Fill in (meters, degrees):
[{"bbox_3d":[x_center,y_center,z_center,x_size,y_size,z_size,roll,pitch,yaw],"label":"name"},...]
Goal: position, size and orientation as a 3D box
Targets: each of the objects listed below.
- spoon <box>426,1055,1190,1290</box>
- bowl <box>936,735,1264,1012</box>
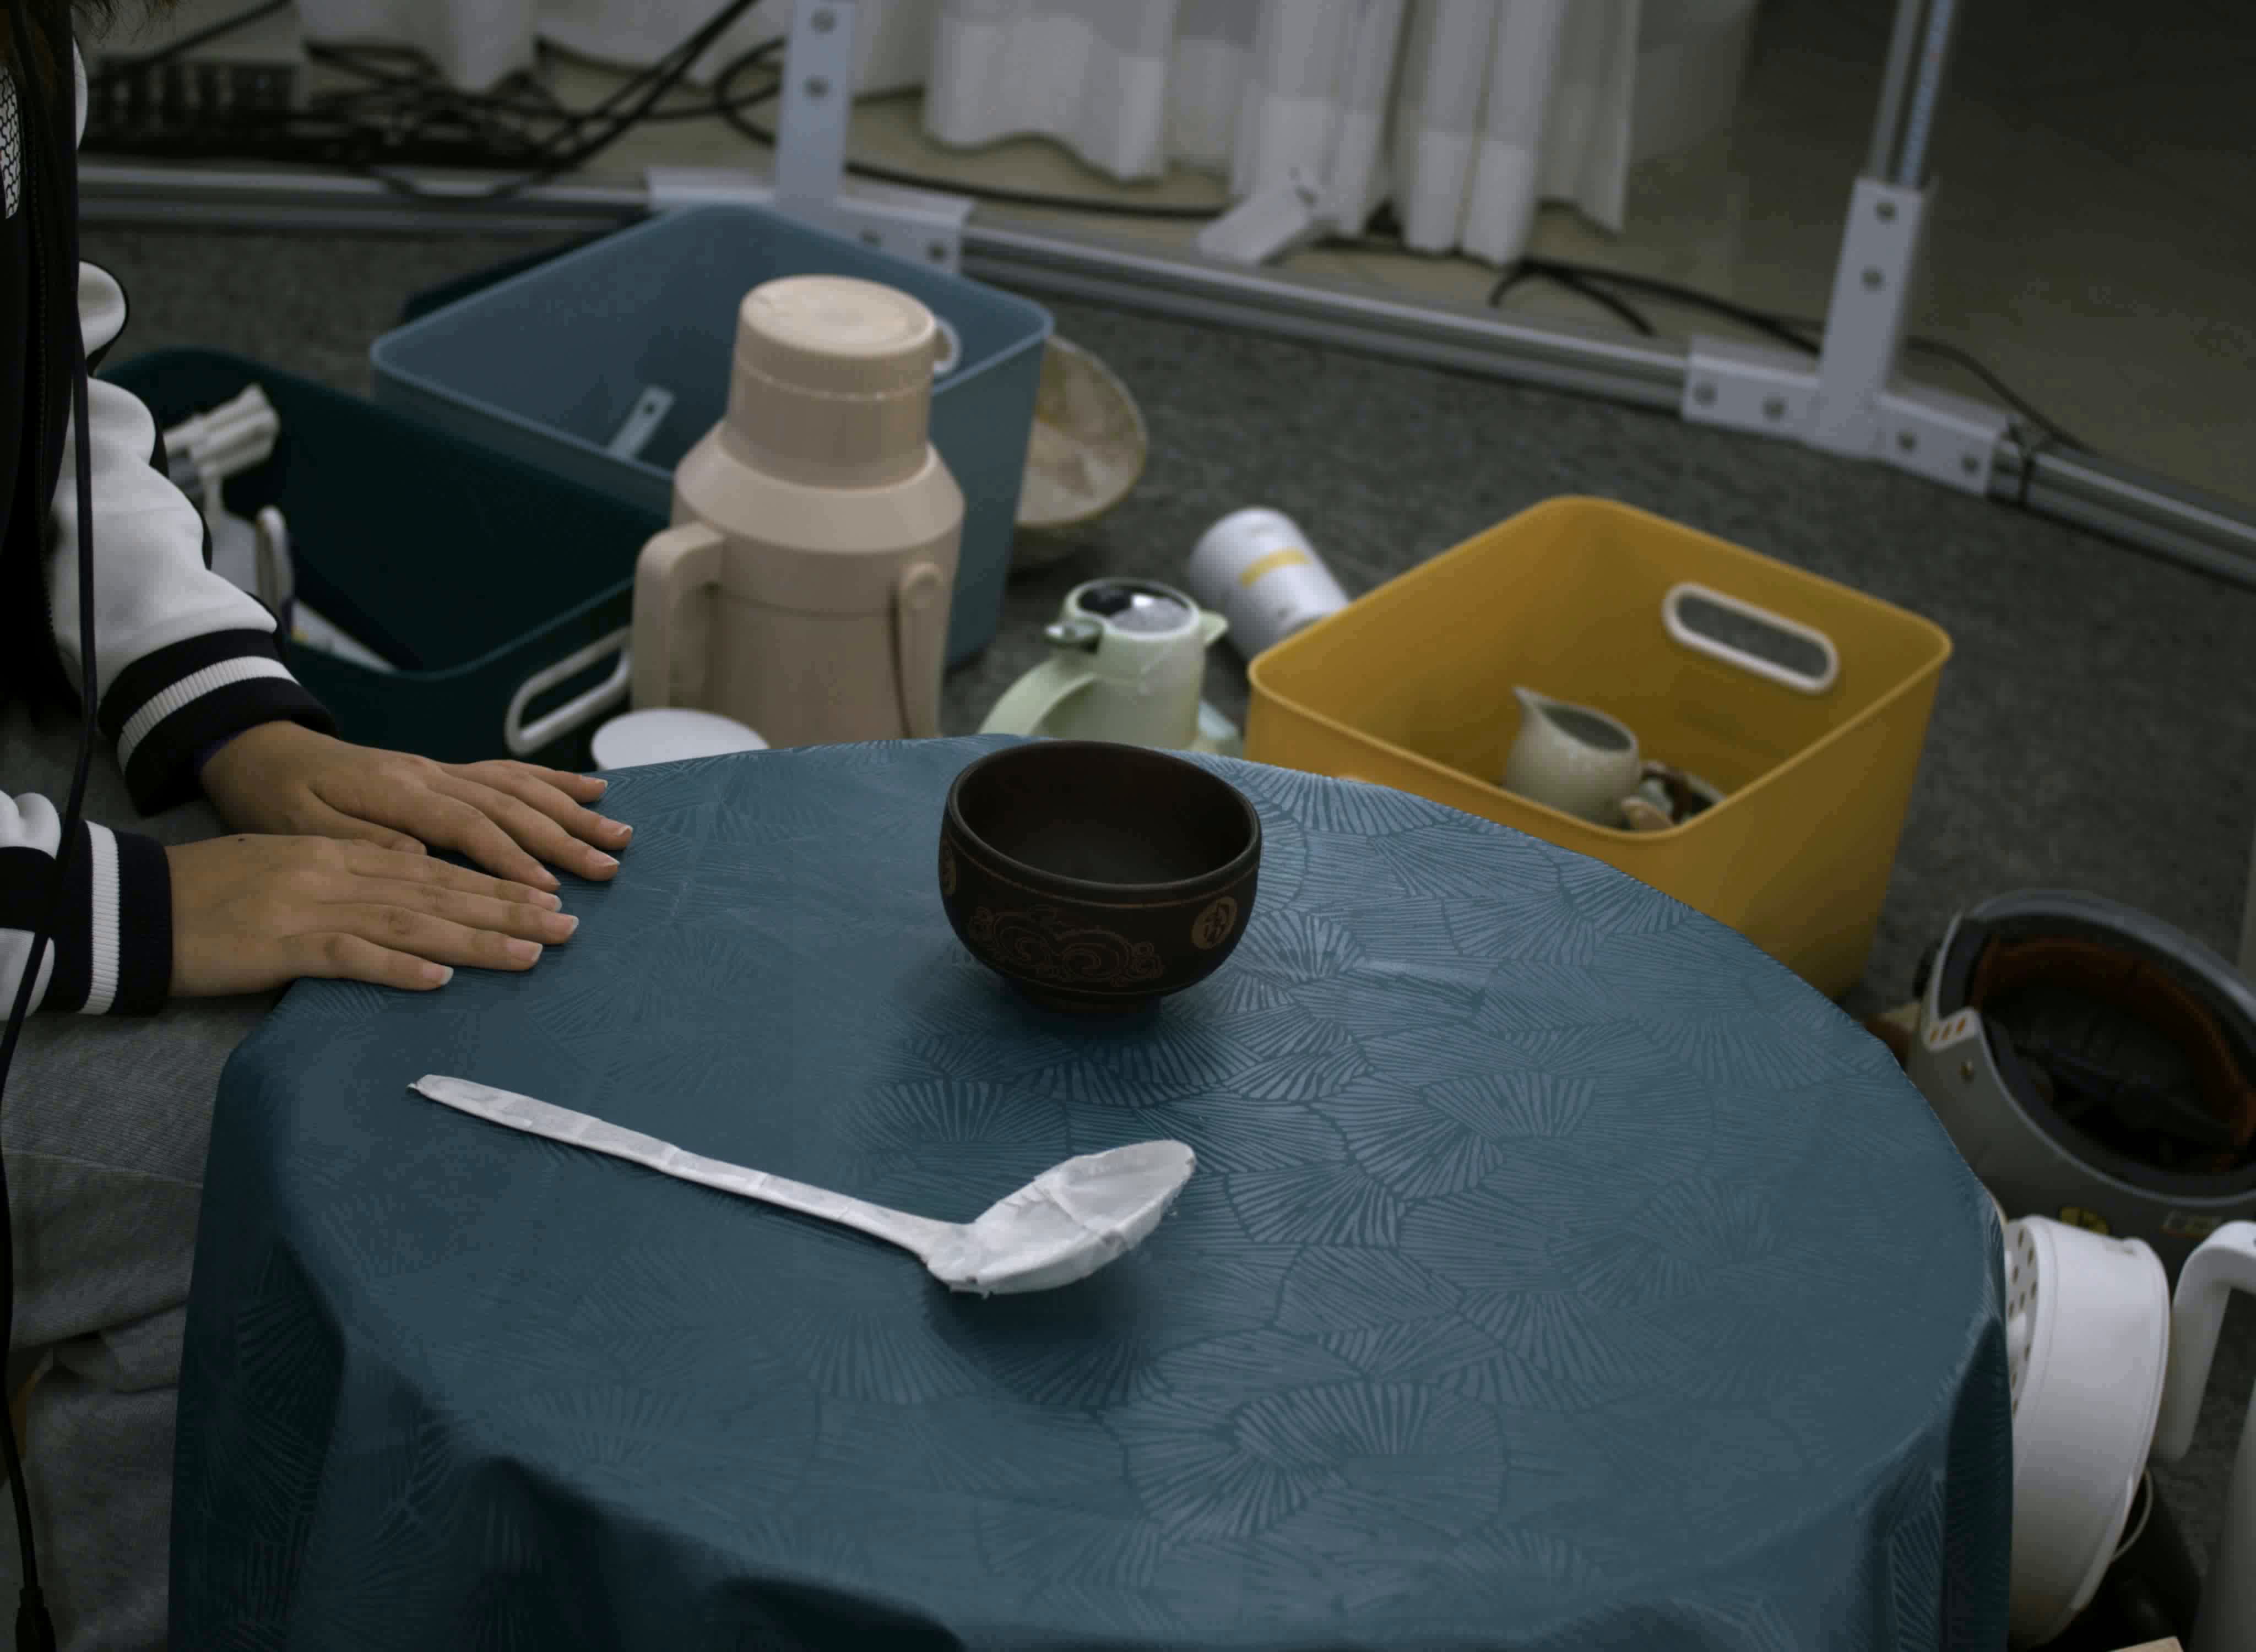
[{"bbox_3d":[-0.110,0.096,1.768,0.278,0.059,0.100,18,25,20],"label":"spoon"},{"bbox_3d":[-0.012,0.023,1.916,0.117,0.069,0.119,5,26,-3],"label":"bowl"}]
